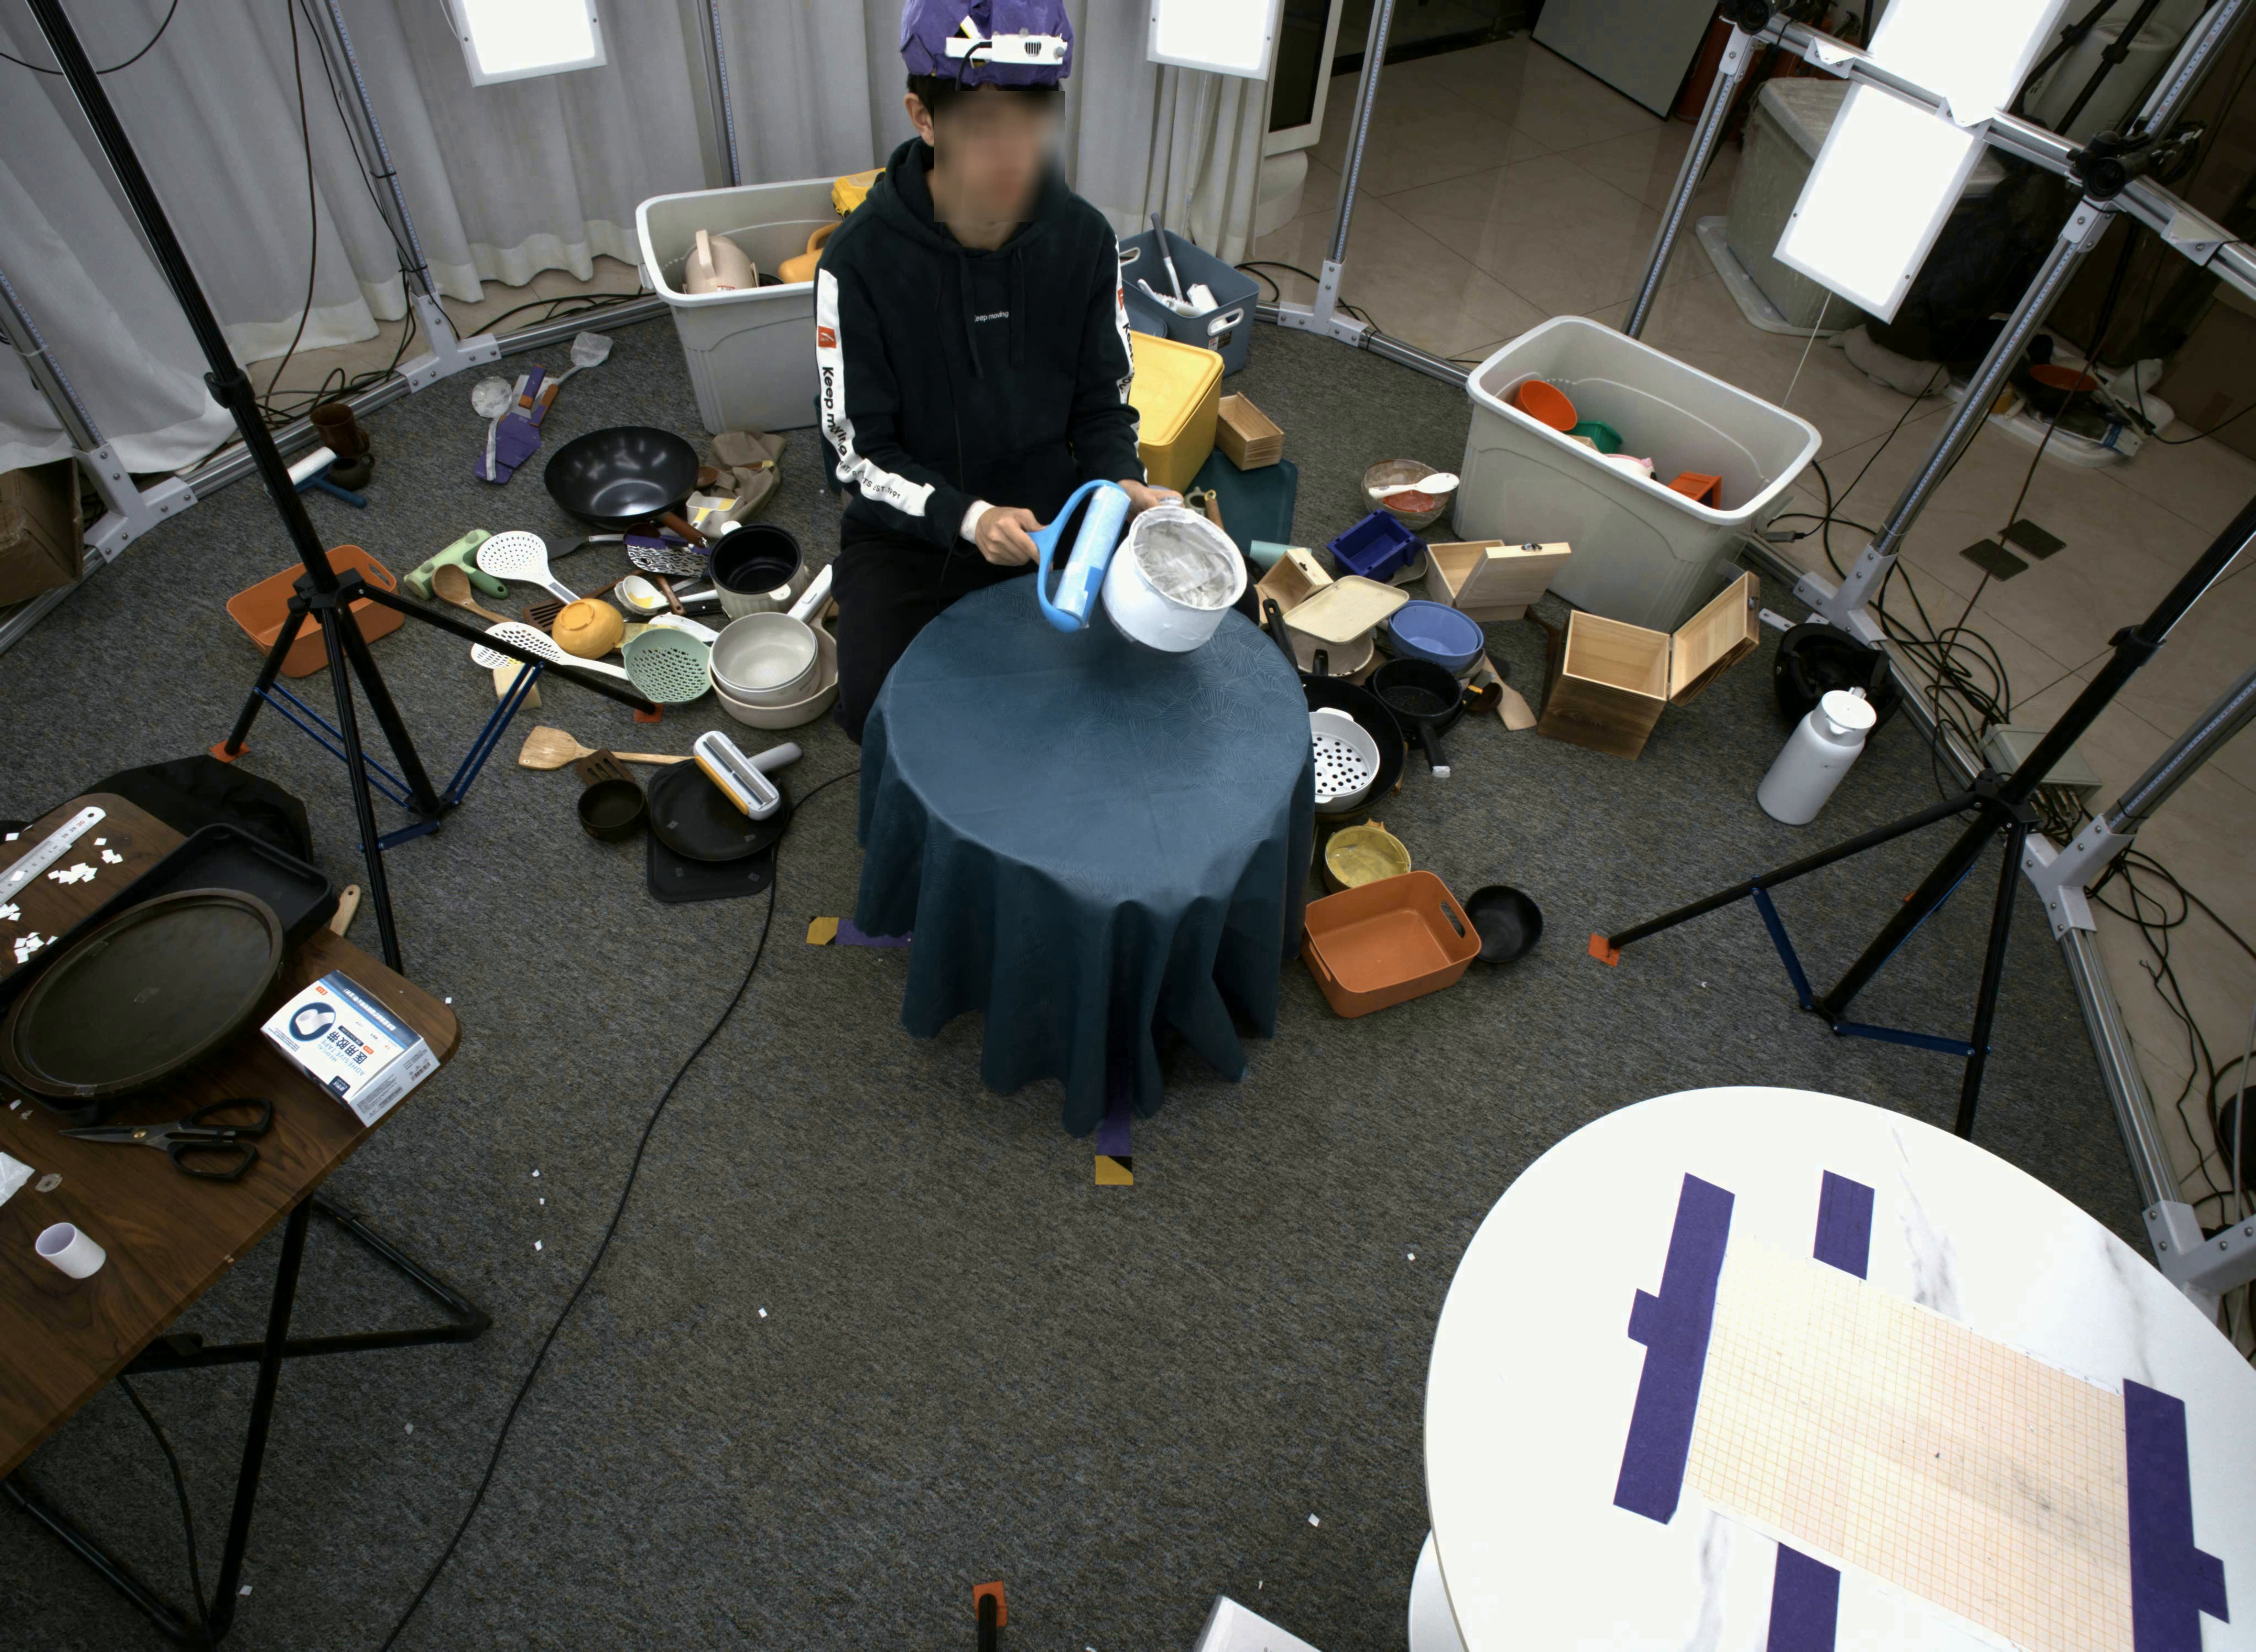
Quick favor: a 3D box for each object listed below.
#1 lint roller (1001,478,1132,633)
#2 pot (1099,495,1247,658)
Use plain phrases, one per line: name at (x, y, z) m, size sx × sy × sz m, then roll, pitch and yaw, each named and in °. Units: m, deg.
lint roller at (-0.103, -0.380, 1.784) m, size 0.181 × 0.067 × 0.231 m, roll 9°, pitch 74°, yaw 19°
pot at (0.052, -0.357, 1.791) m, size 0.178 × 0.134 × 0.239 m, roll 4°, pitch 59°, yaw -25°
